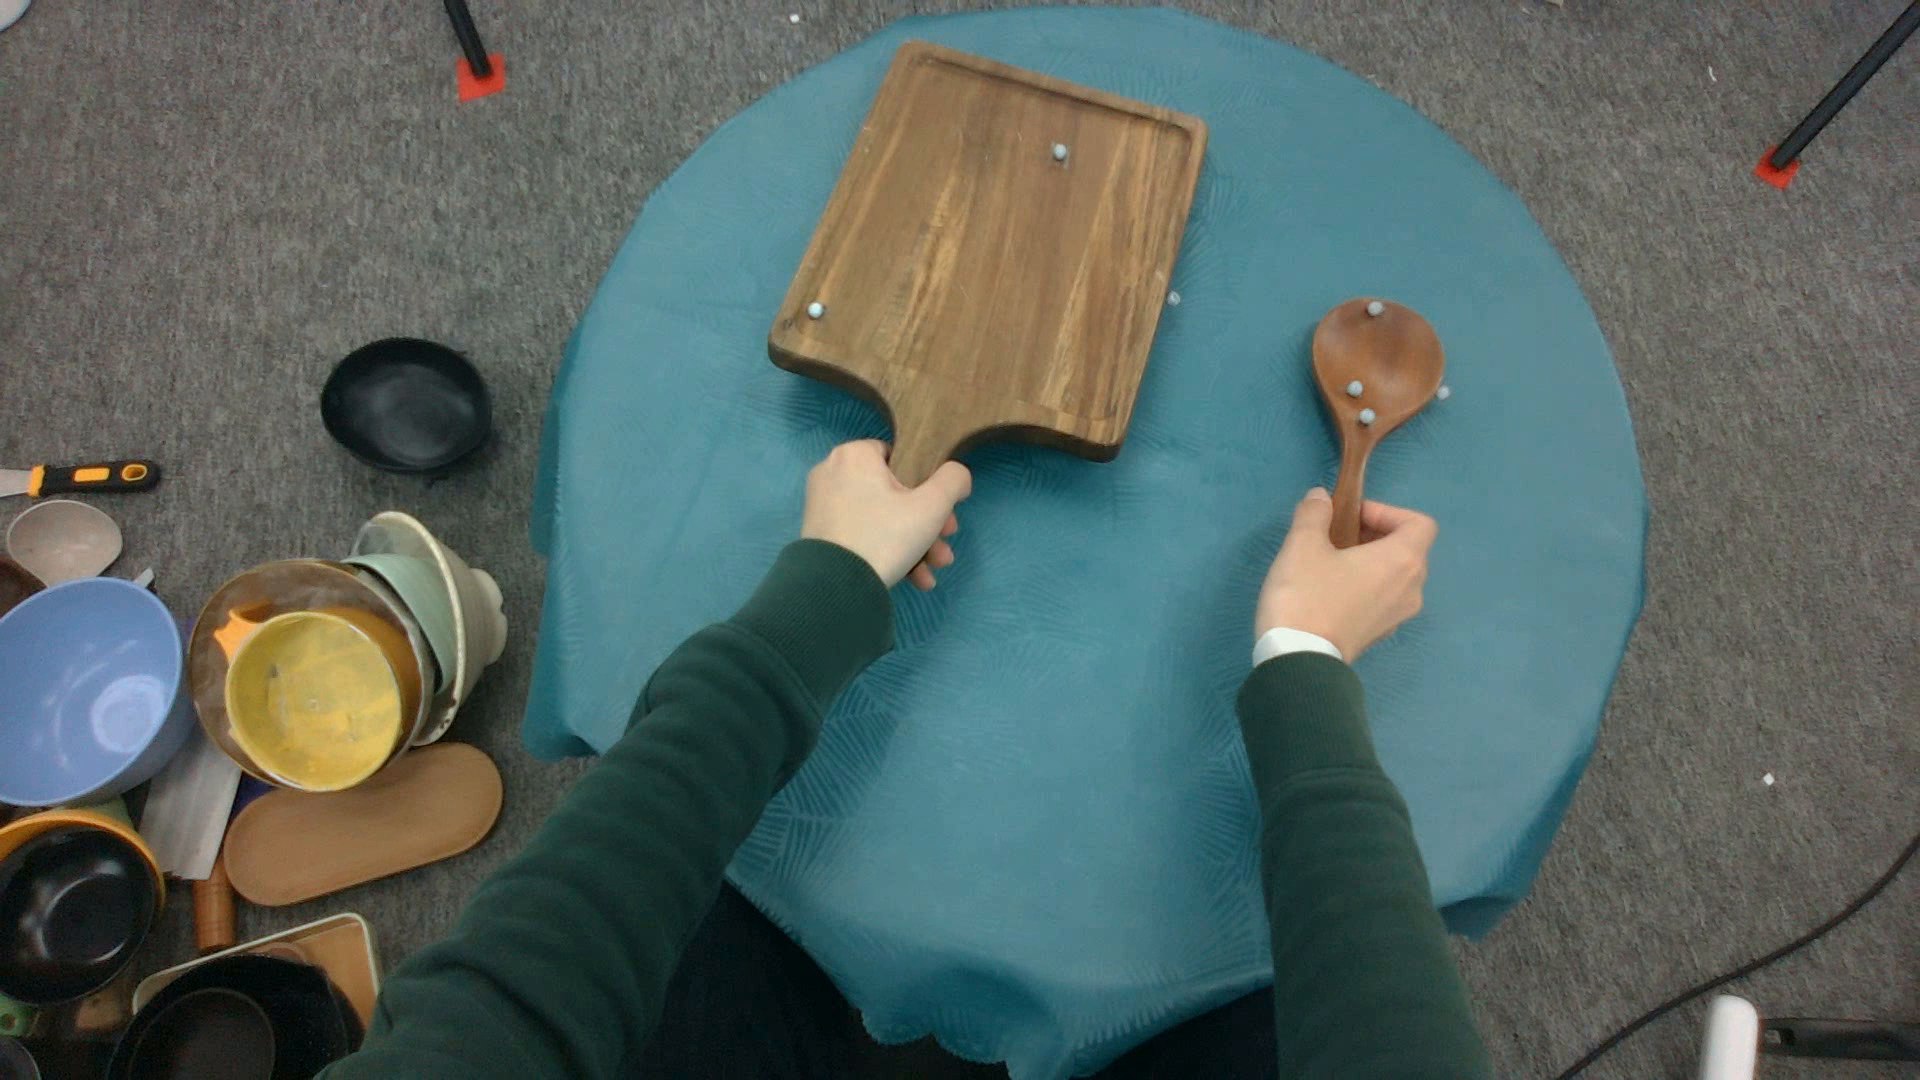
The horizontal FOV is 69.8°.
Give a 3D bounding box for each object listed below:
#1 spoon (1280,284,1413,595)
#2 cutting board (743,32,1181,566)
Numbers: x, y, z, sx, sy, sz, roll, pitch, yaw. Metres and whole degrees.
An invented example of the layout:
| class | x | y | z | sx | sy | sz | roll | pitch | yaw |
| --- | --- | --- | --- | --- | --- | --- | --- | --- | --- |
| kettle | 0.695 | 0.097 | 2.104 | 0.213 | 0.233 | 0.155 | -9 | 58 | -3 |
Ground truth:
| class | x | y | z | sx | sy | sz | roll | pitch | yaw |
| --- | --- | --- | --- | --- | --- | --- | --- | --- | --- |
| spoon | 0.200 | -0.059 | 0.743 | 0.075 | 0.017 | 0.217 | 18 | 56 | 3 |
| cutting board | -0.003 | -0.139 | 0.757 | 0.201 | 0.023 | 0.354 | 16 | 60 | 2 |
